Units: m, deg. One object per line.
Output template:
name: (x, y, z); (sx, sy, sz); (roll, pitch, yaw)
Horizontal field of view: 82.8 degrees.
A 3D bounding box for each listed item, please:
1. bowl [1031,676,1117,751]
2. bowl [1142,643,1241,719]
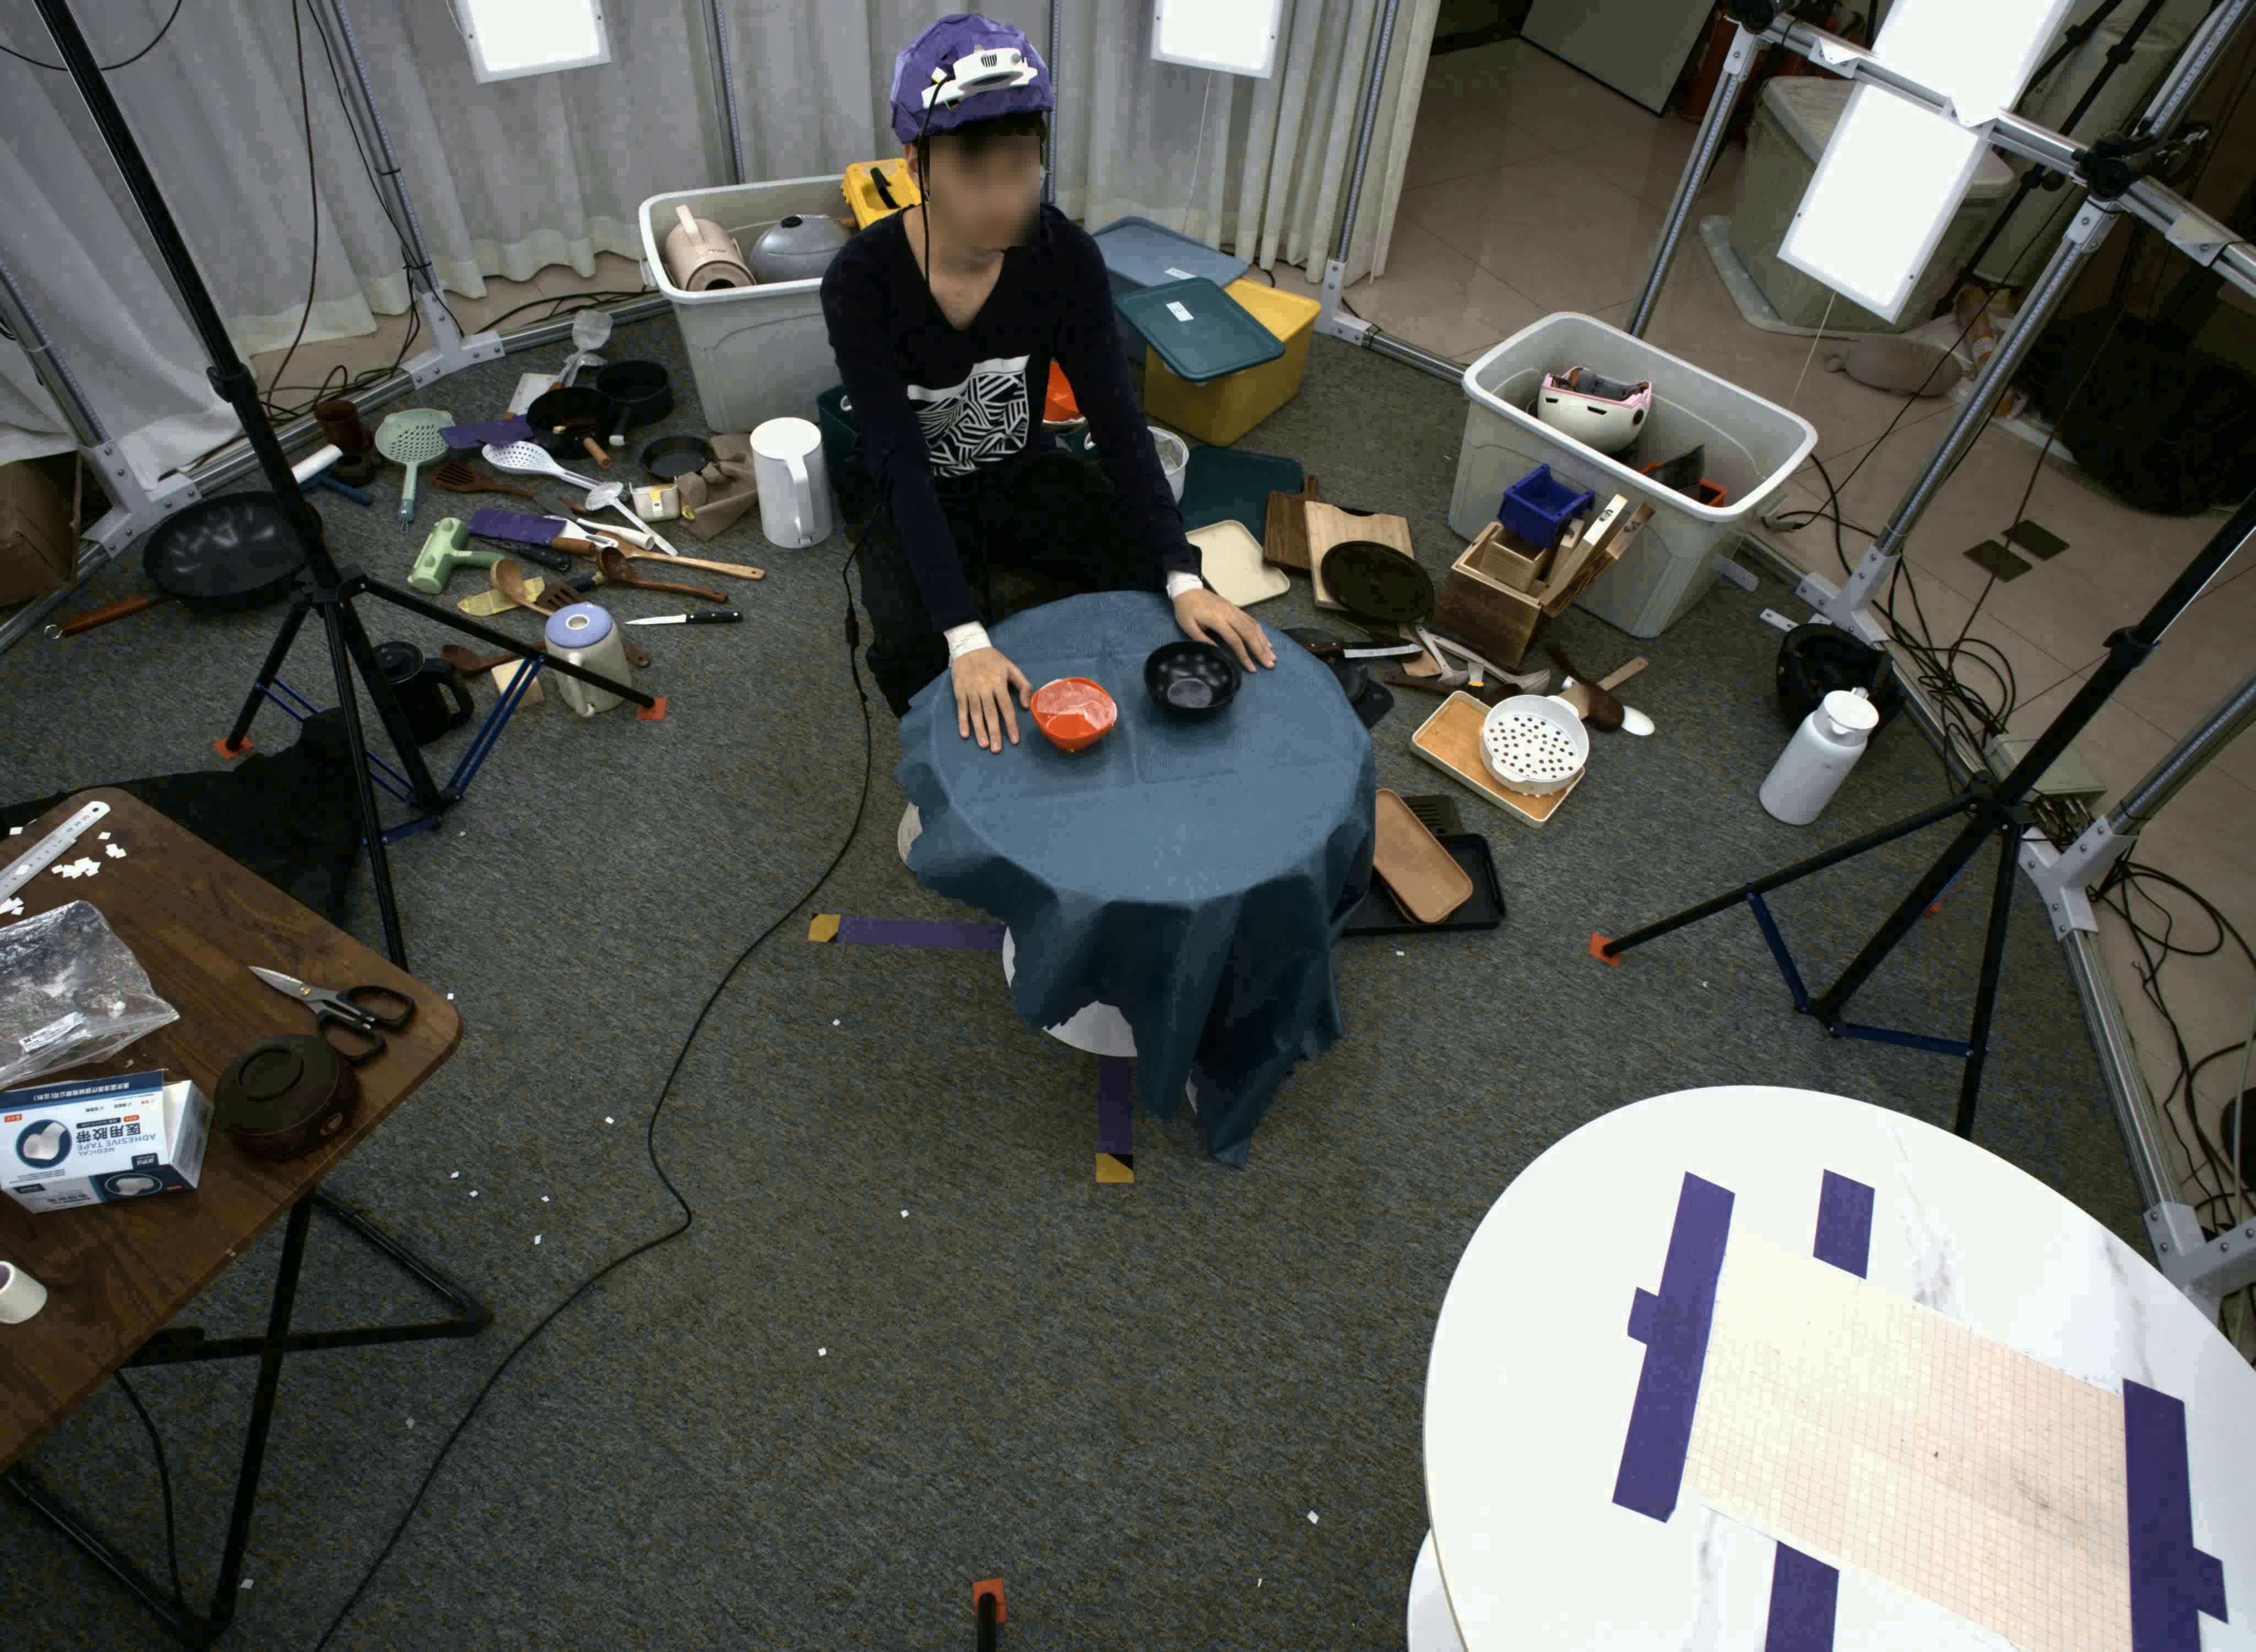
bowl: (-0.075, -0.147, 1.756); (0.119, 0.050, 0.122); (2, 51, -3)
bowl: (0.089, -0.197, 1.816); (0.140, 0.048, 0.143); (0, 45, -1)
